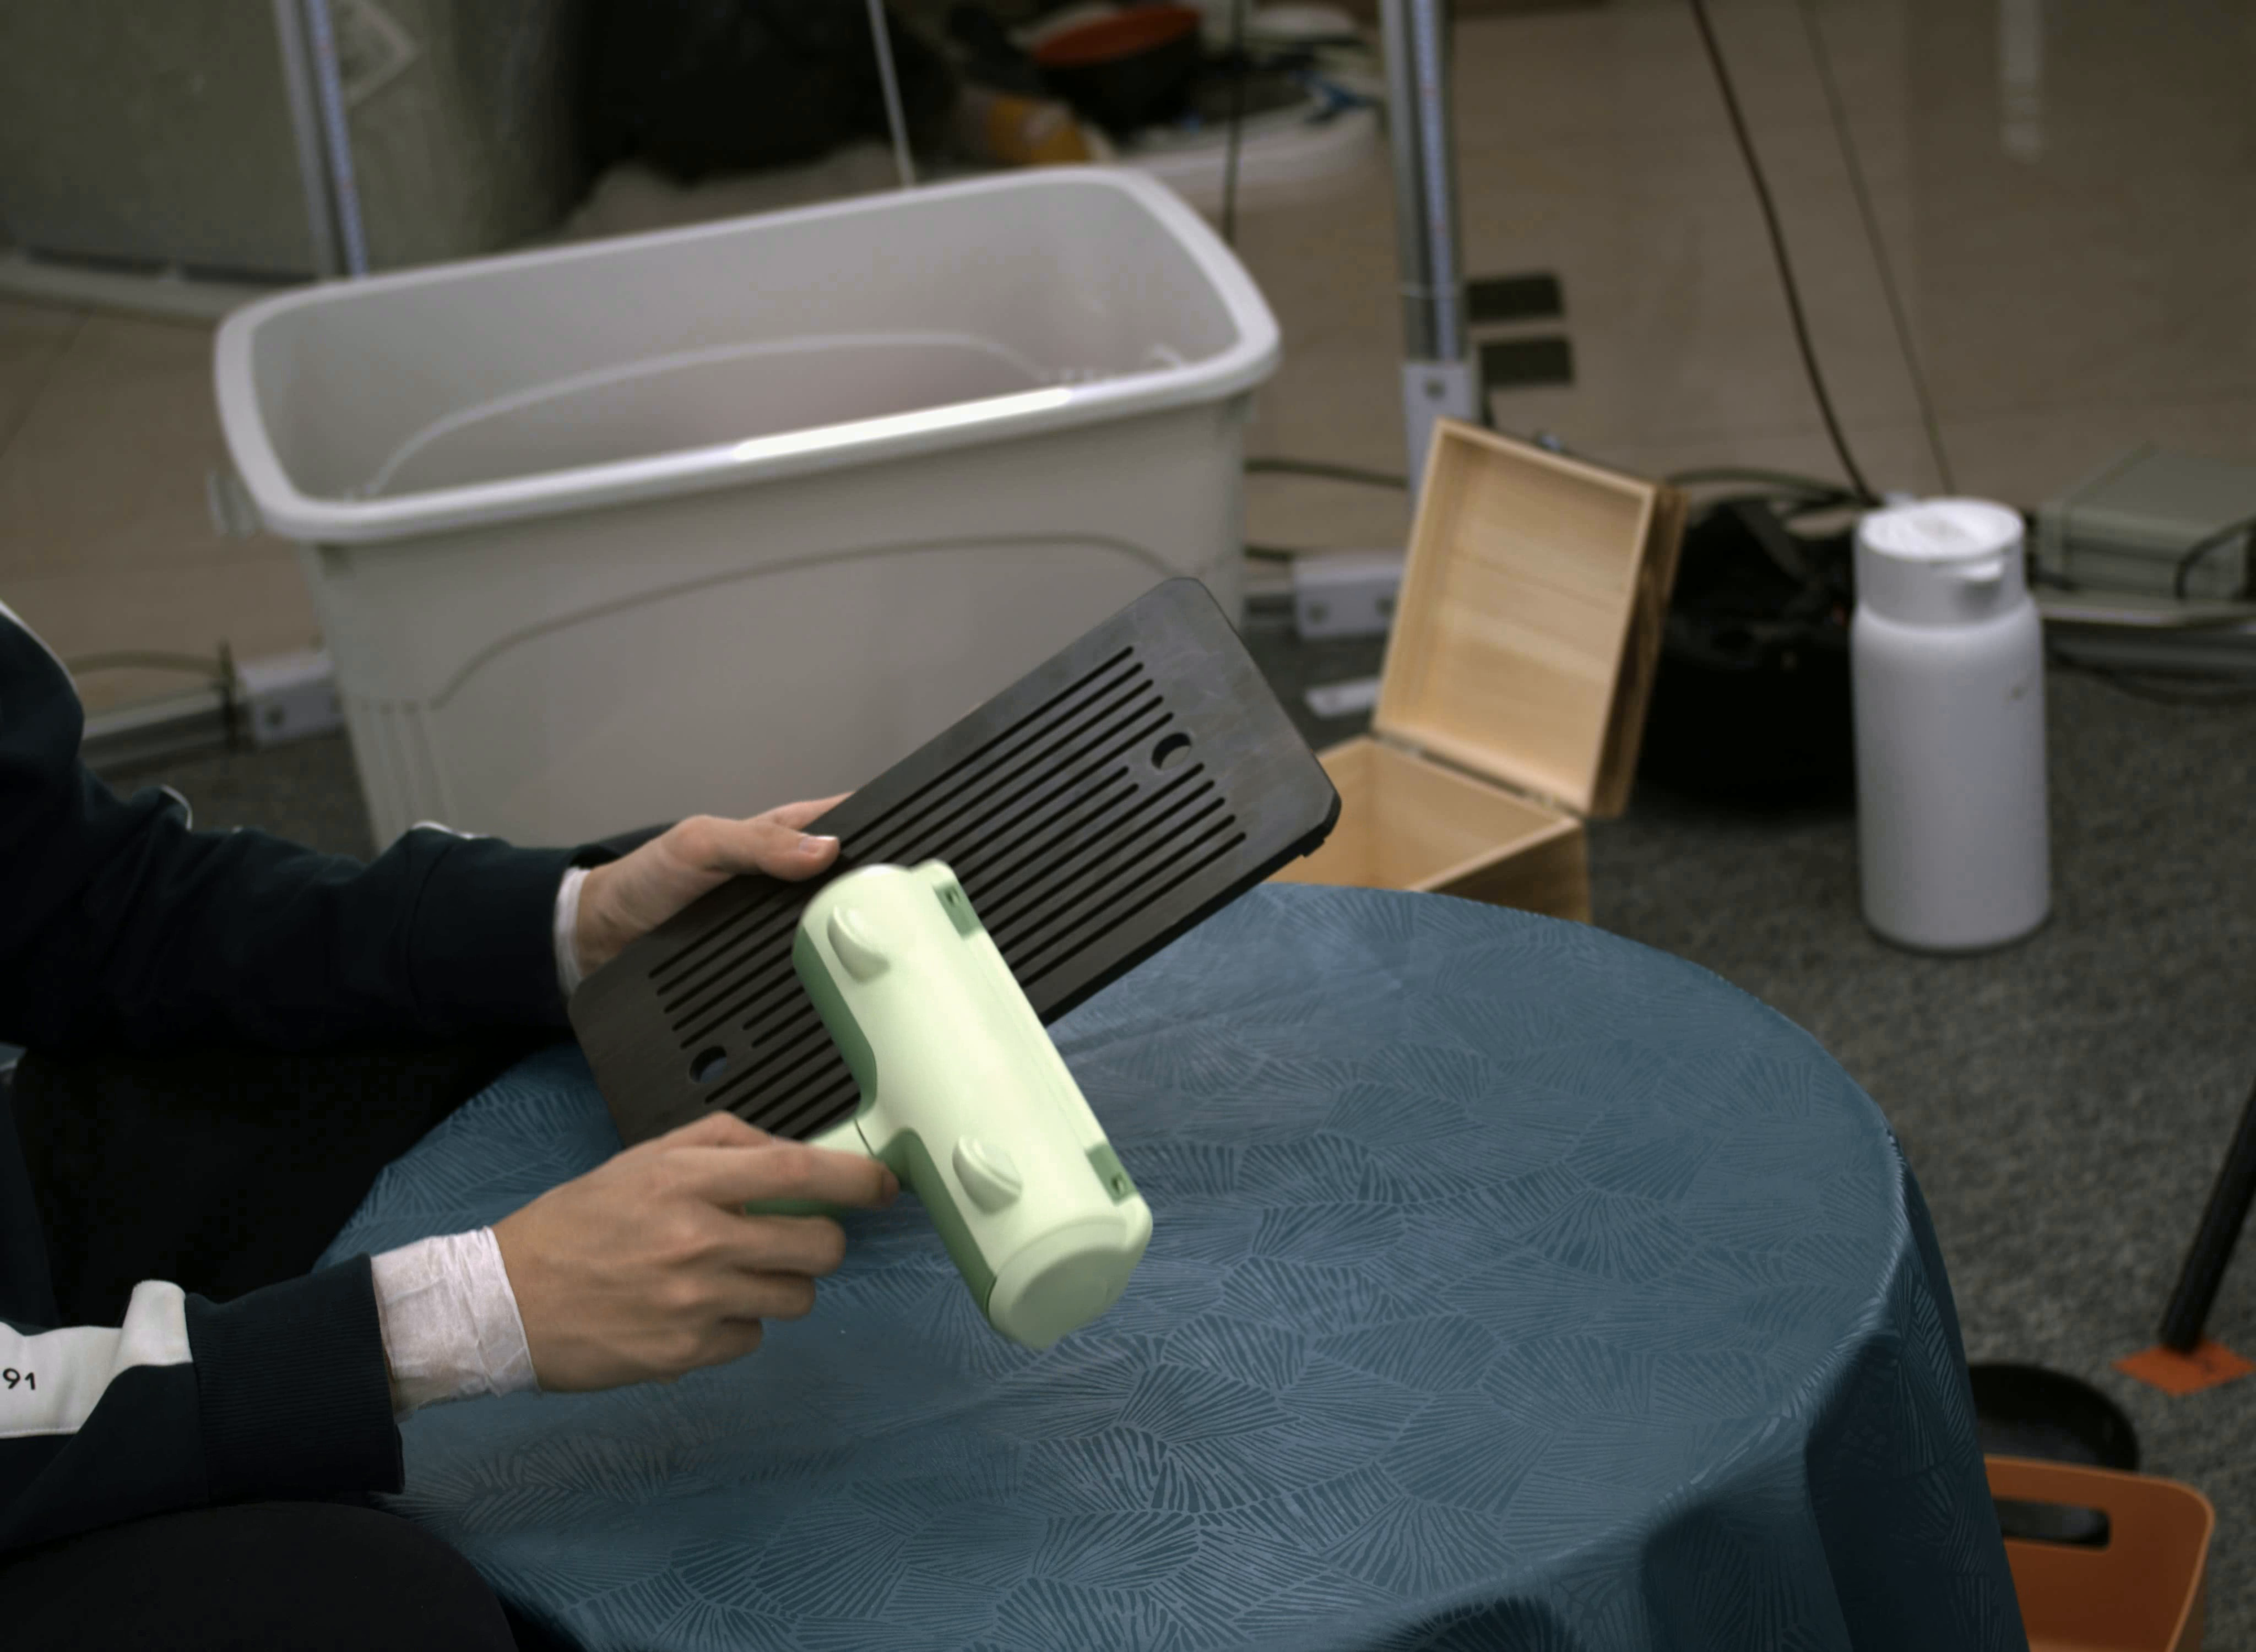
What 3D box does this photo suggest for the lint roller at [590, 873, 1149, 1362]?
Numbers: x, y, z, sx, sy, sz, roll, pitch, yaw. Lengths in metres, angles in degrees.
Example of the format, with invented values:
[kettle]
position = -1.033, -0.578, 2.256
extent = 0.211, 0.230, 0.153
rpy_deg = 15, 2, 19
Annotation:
[lint roller]
position = -0.110, 0.117, 1.971
extent = 0.183, 0.084, 0.195
rpy_deg = -25, 51, -7

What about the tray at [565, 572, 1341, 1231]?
[tray]
position = -0.070, 0.033, 2.173
extent = 0.306, 0.019, 0.167
rpy_deg = -34, 42, 5
